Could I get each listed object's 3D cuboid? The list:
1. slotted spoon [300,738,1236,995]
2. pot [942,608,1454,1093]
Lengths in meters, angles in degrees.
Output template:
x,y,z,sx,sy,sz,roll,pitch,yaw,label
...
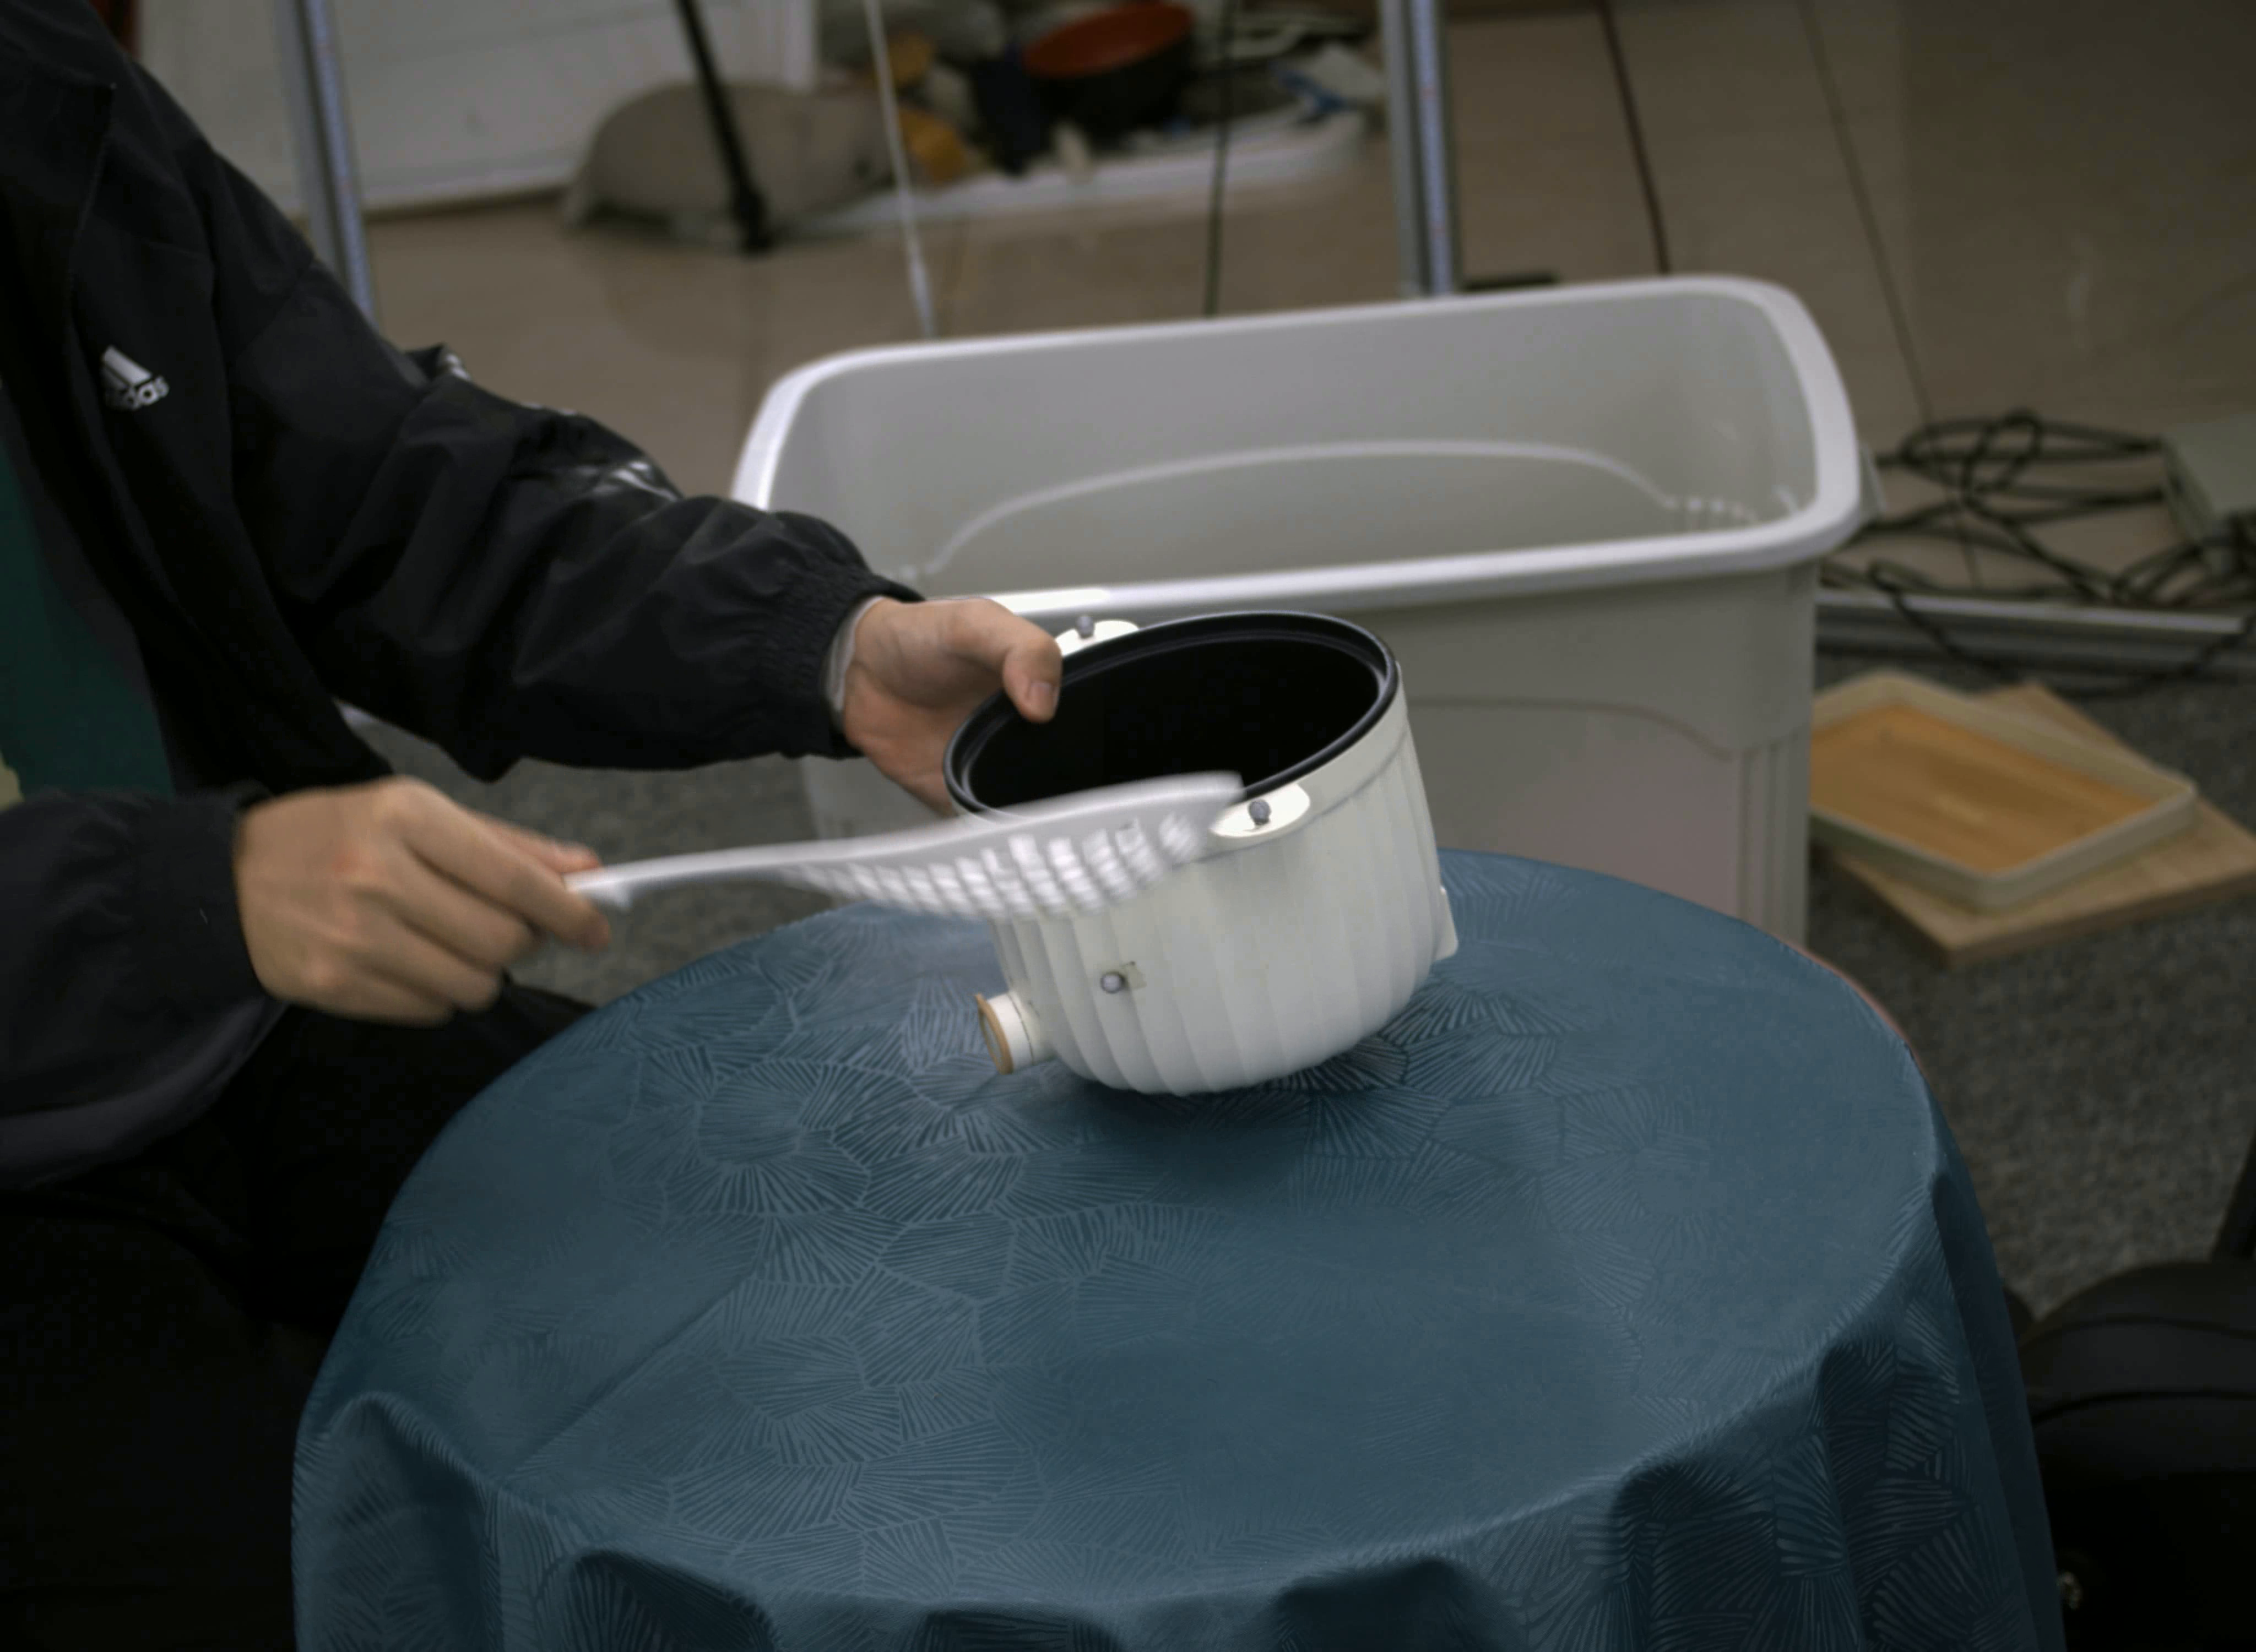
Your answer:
x,y,z,sx,sy,sz,roll,pitch,yaw,label
-0.130,0.015,2.015,0.347,0.050,0.136,-7,3,11,slotted spoon
0.025,0.016,2.207,0.190,0.145,0.237,-17,24,-13,pot
